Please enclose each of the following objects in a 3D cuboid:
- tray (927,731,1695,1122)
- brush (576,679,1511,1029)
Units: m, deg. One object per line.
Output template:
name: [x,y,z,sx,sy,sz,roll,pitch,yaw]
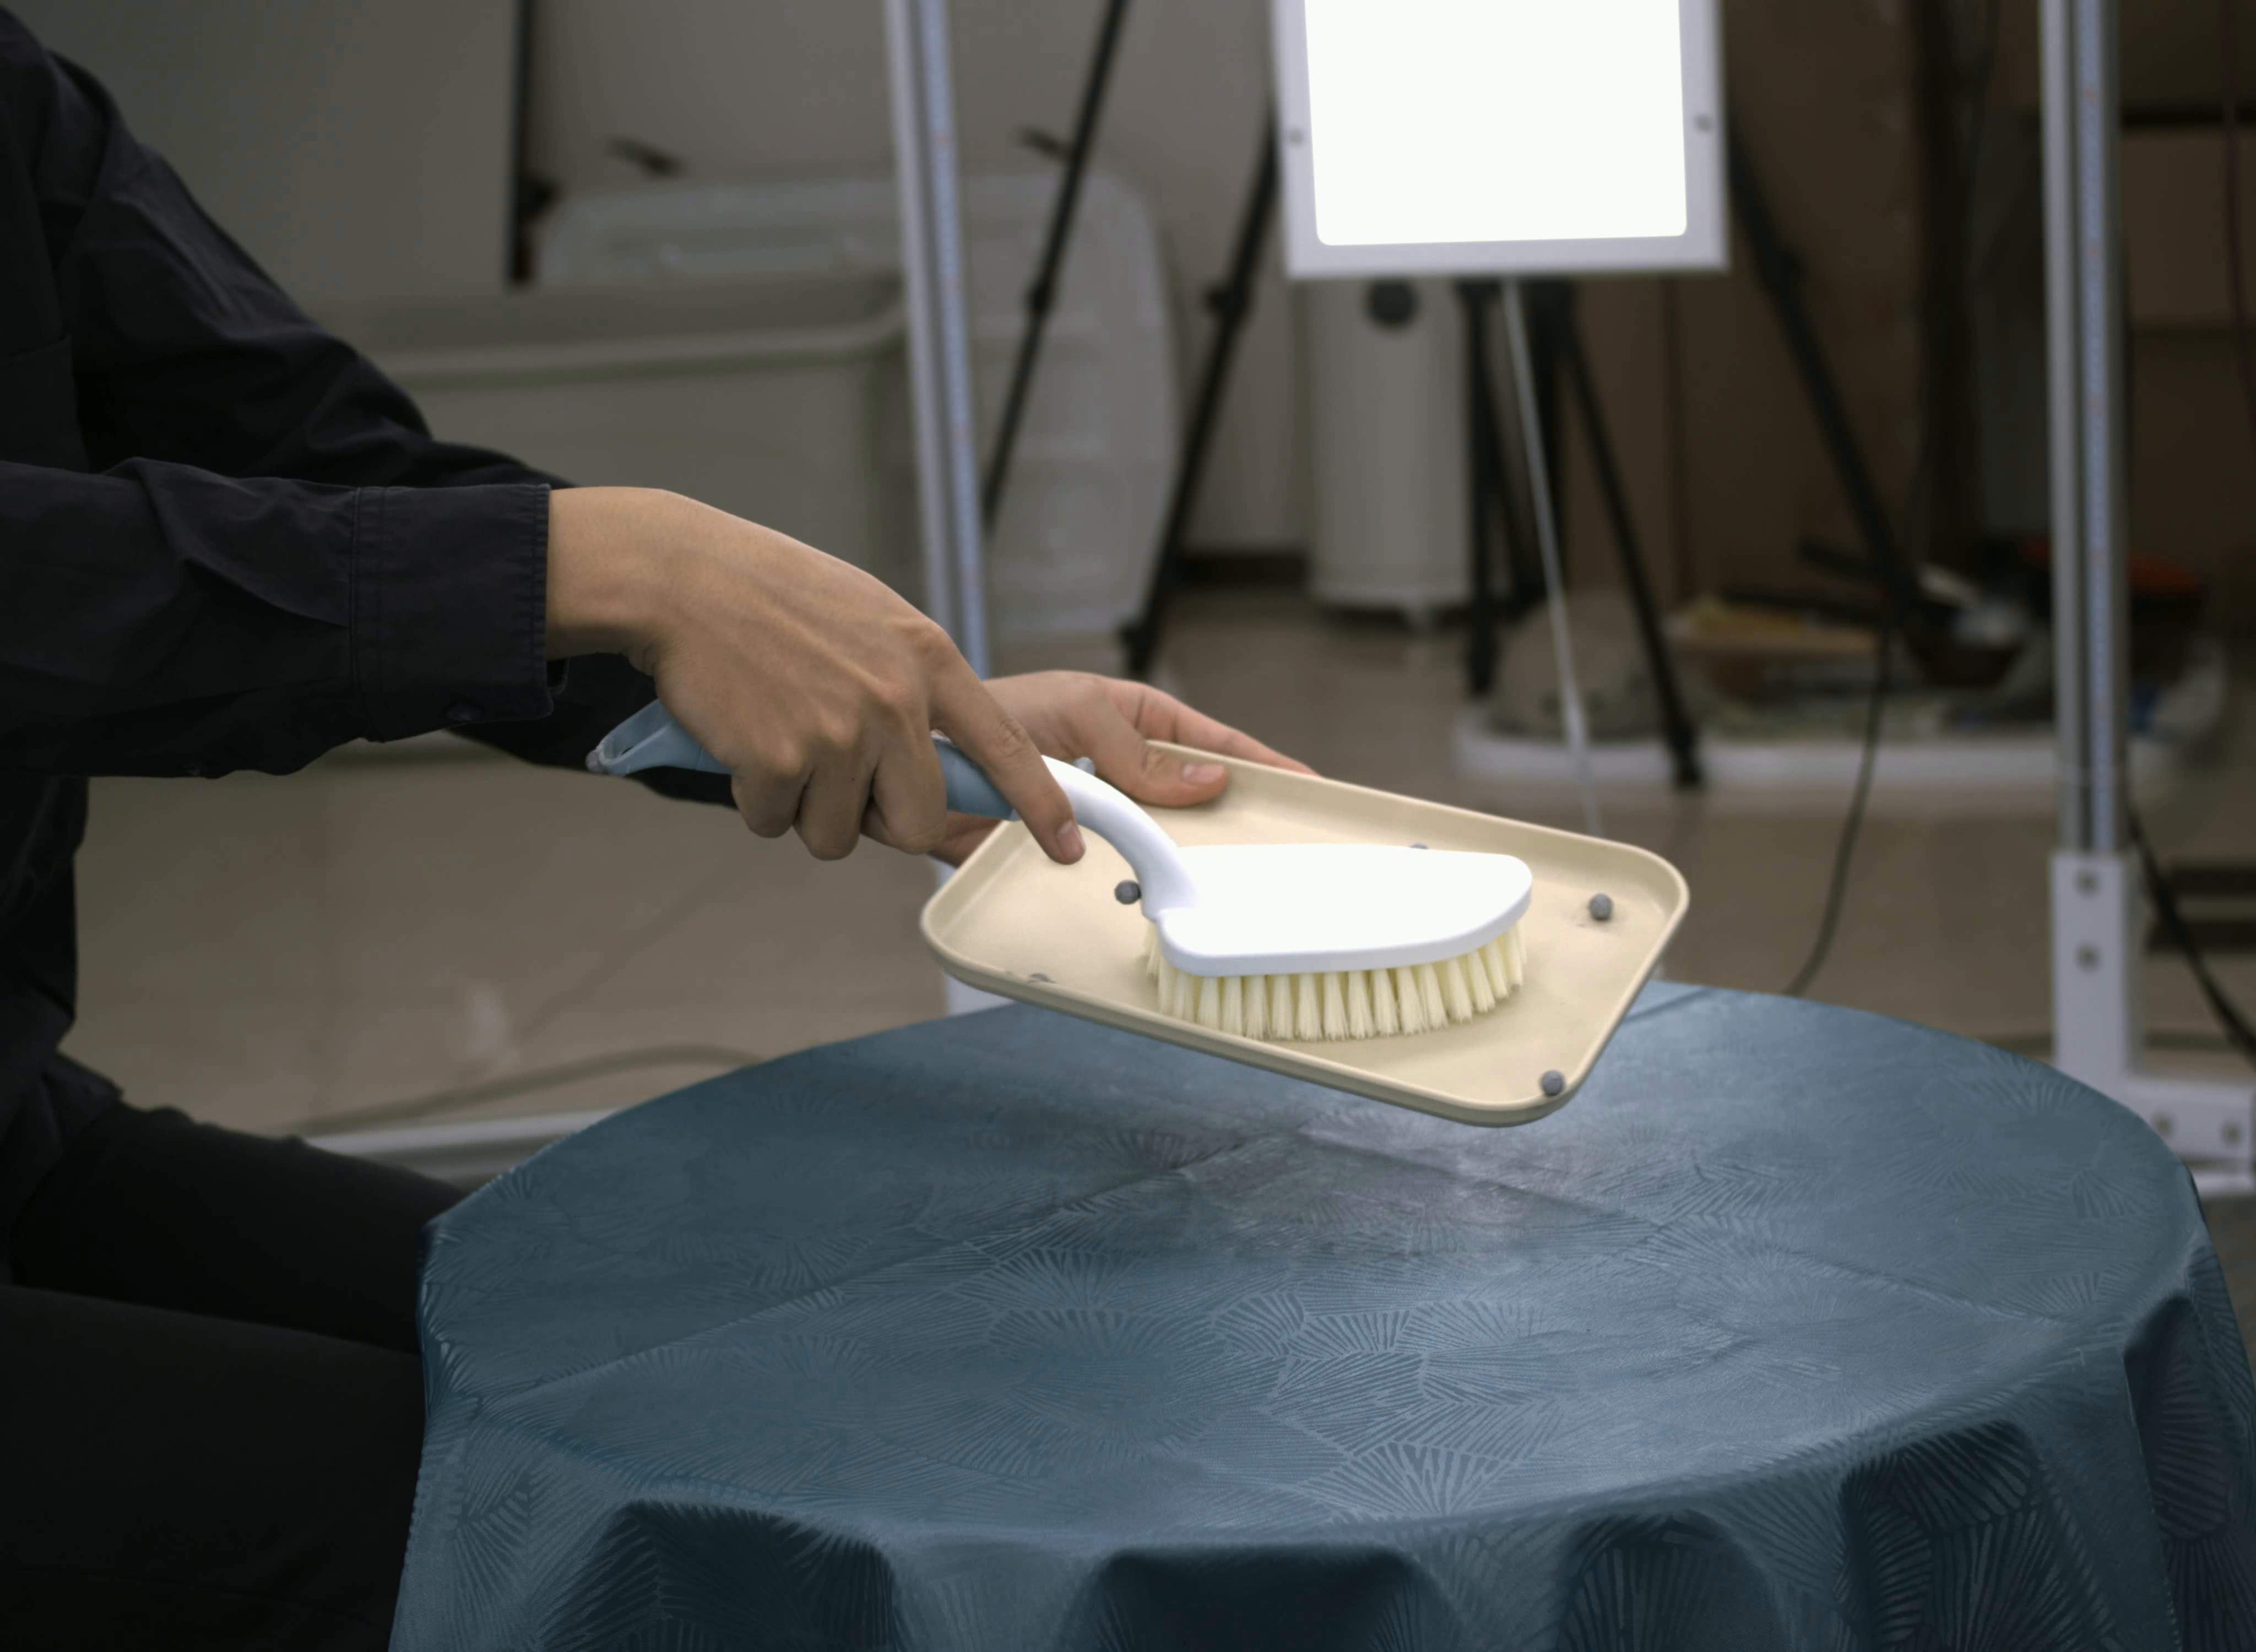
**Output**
tray: [0.064,0.034,1.887,0.243,0.017,0.168,14,34,21]
brush: [-0.030,0.018,1.840,0.322,0.084,0.084,9,-7,-10]
